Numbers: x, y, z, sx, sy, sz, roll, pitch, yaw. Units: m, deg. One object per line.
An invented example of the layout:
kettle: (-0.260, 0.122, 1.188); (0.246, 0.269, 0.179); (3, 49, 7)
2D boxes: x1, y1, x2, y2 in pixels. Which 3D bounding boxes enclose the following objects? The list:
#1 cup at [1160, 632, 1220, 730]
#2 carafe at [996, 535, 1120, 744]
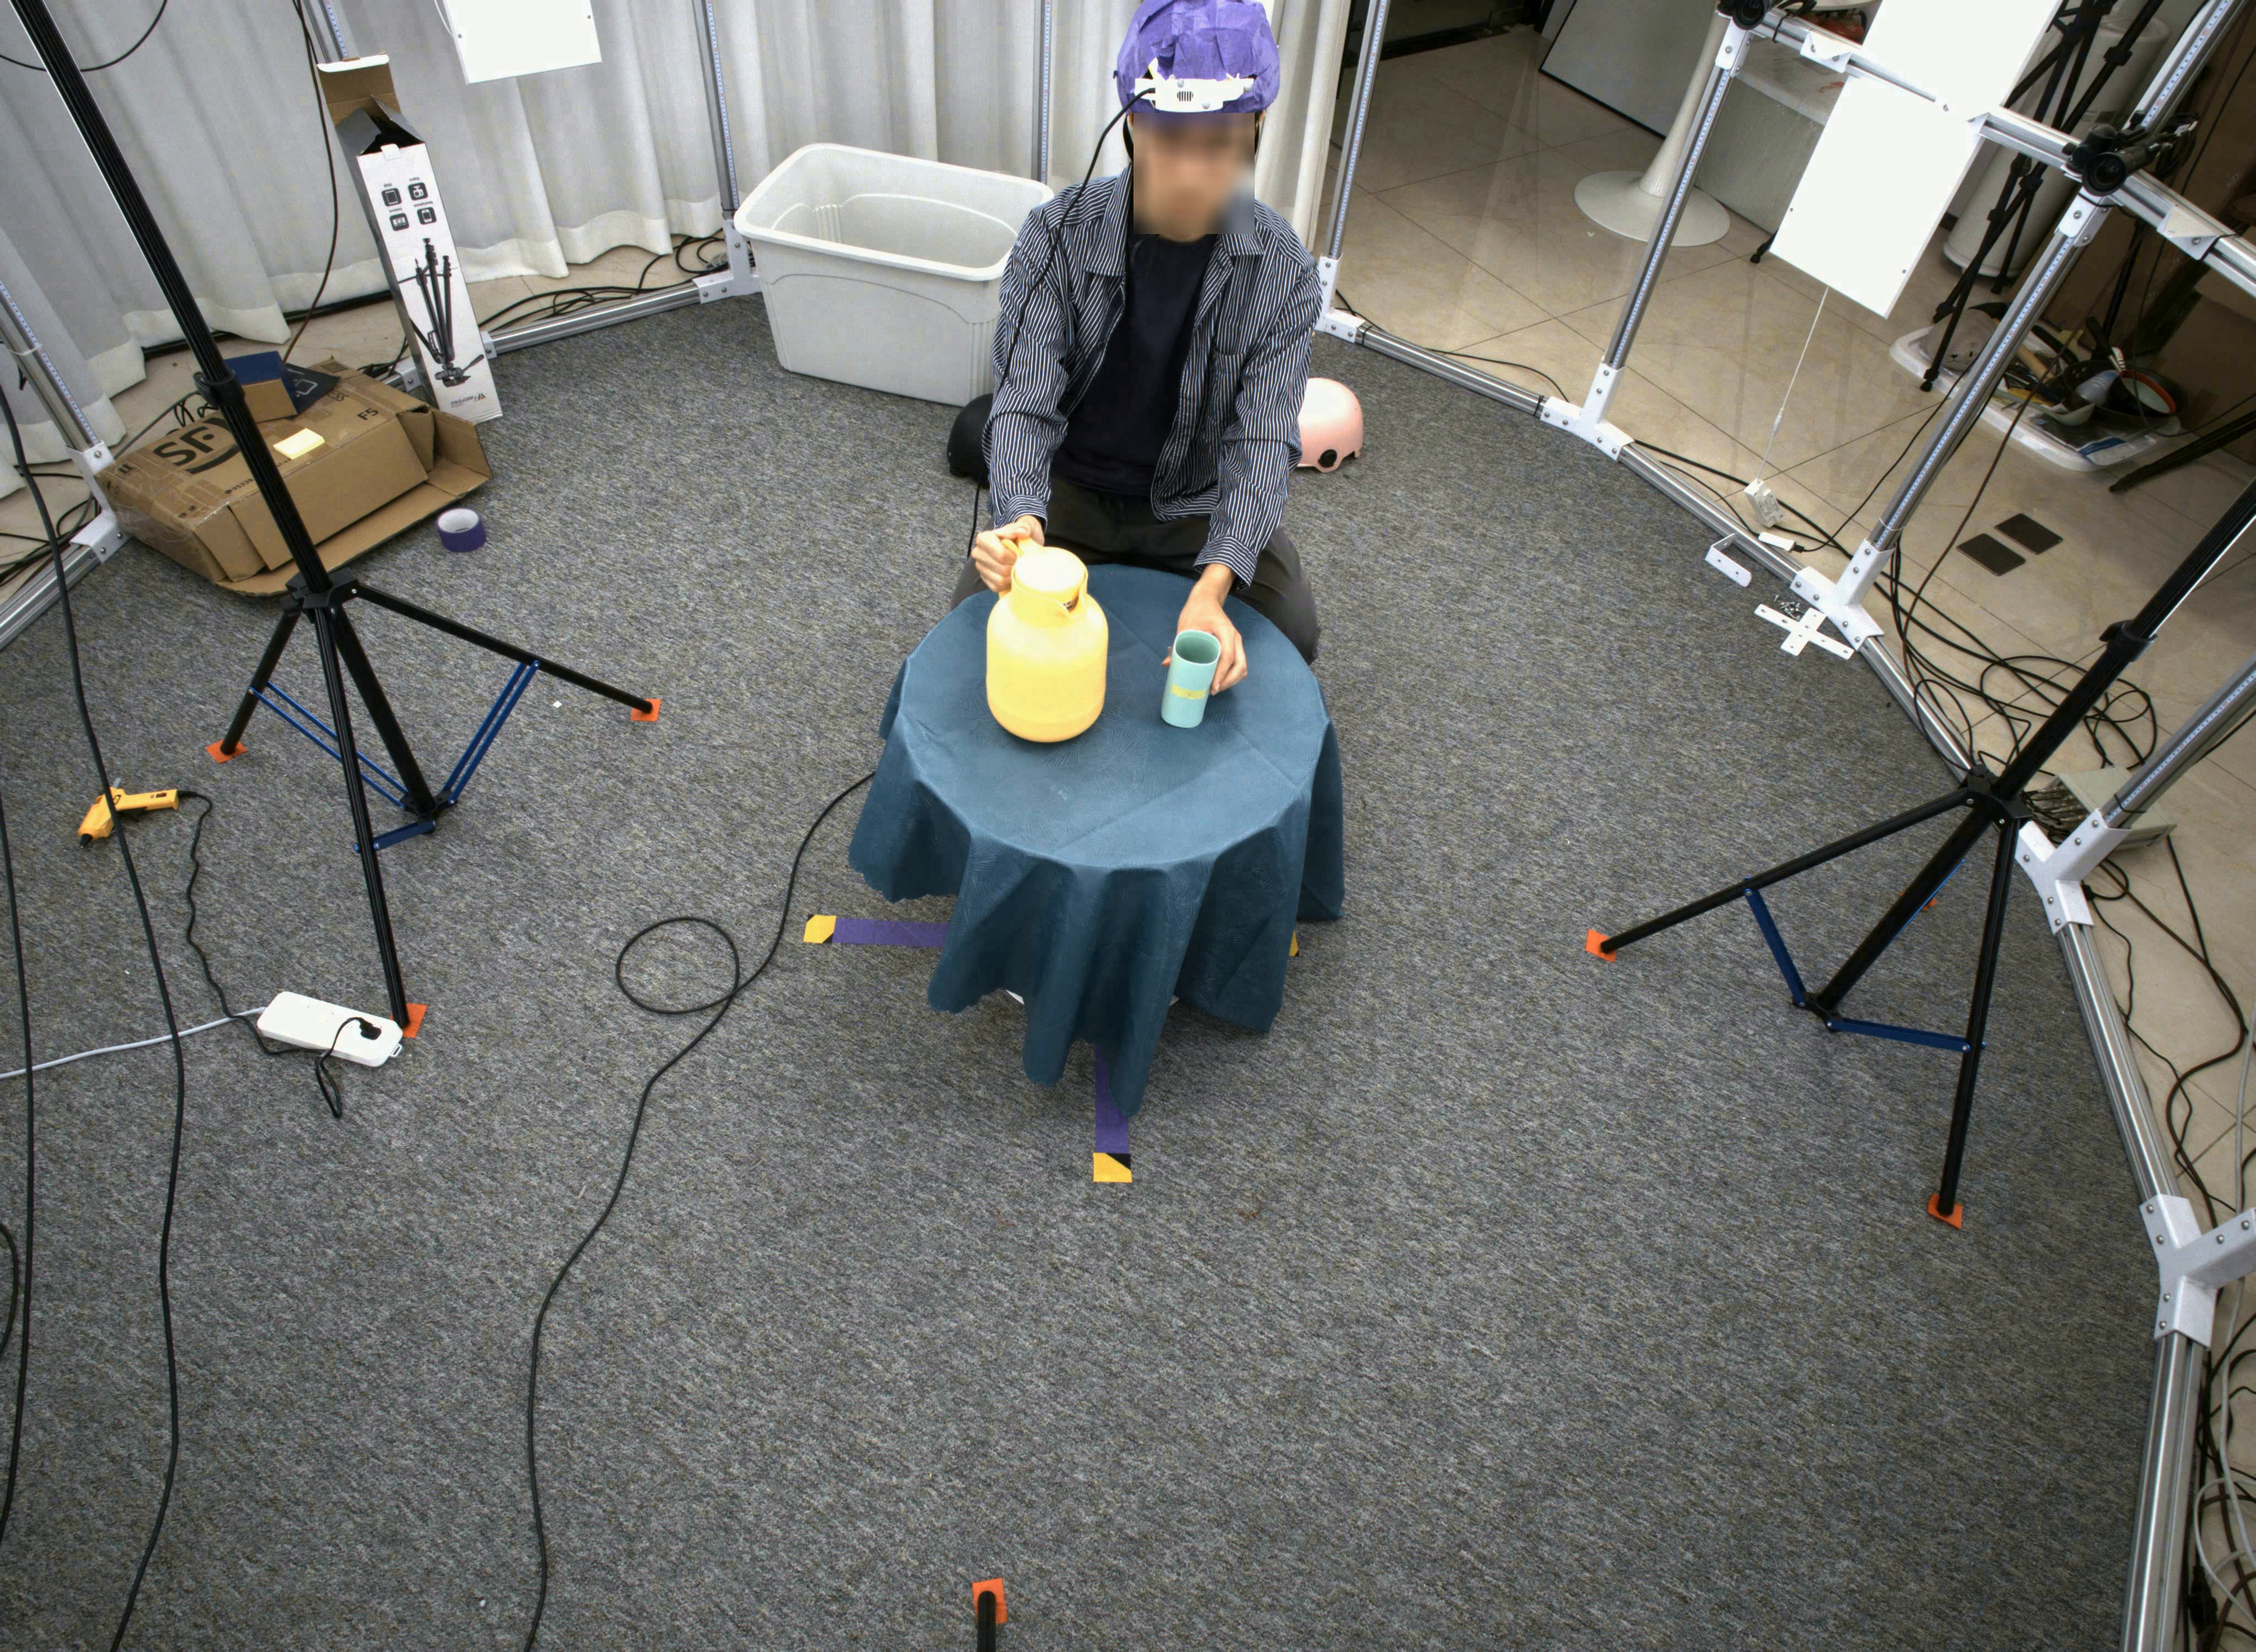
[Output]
cup: (0.083, -0.198, 1.756); (0.066, 0.129, 0.068); (5, 51, -6)
carafe: (-0.101, -0.255, 1.704); (0.164, 0.254, 0.206); (-23, 55, -25)
